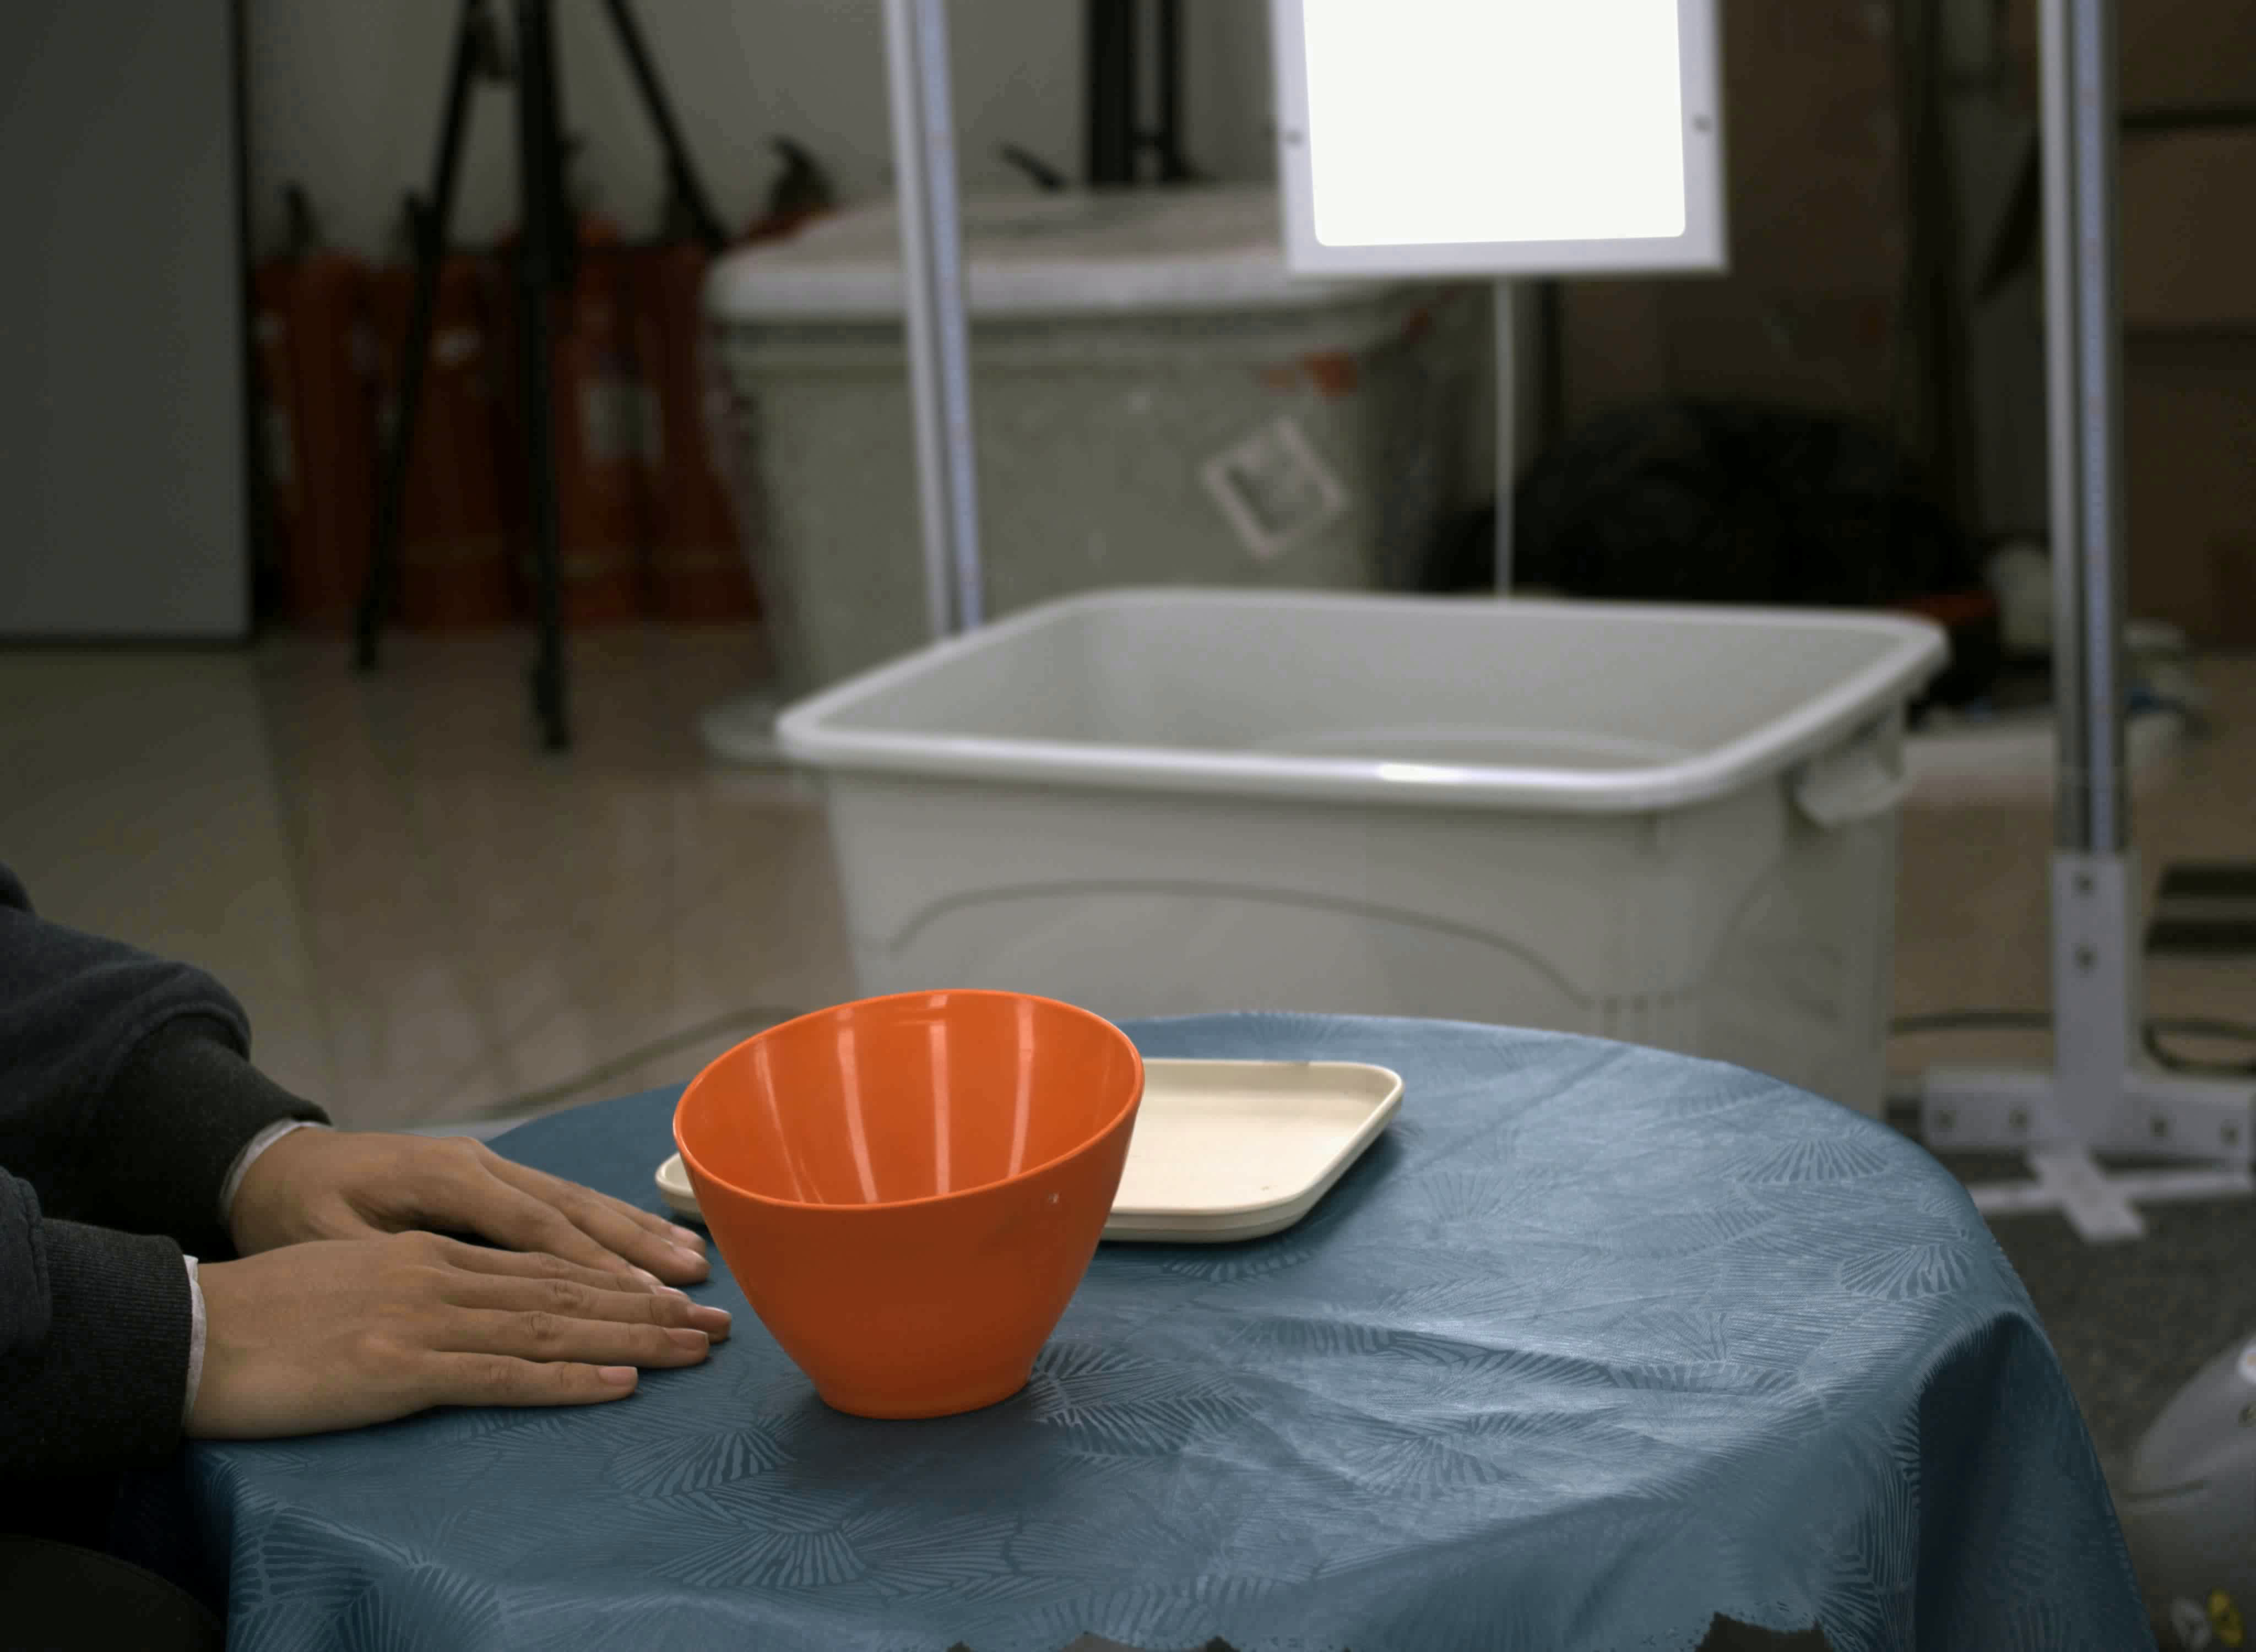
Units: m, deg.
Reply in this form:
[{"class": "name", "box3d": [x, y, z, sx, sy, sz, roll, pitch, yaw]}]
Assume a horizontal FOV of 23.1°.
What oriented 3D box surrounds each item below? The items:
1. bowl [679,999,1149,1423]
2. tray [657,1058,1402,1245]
[{"class": "bowl", "box3d": [-0.065, 0.123, 1.721, 0.147, 0.105, 0.148, -3, 13, -1]}, {"class": "tray", "box3d": [-0.033, 0.113, 1.928, 0.243, 0.017, 0.168, 0, 15, 21]}]
